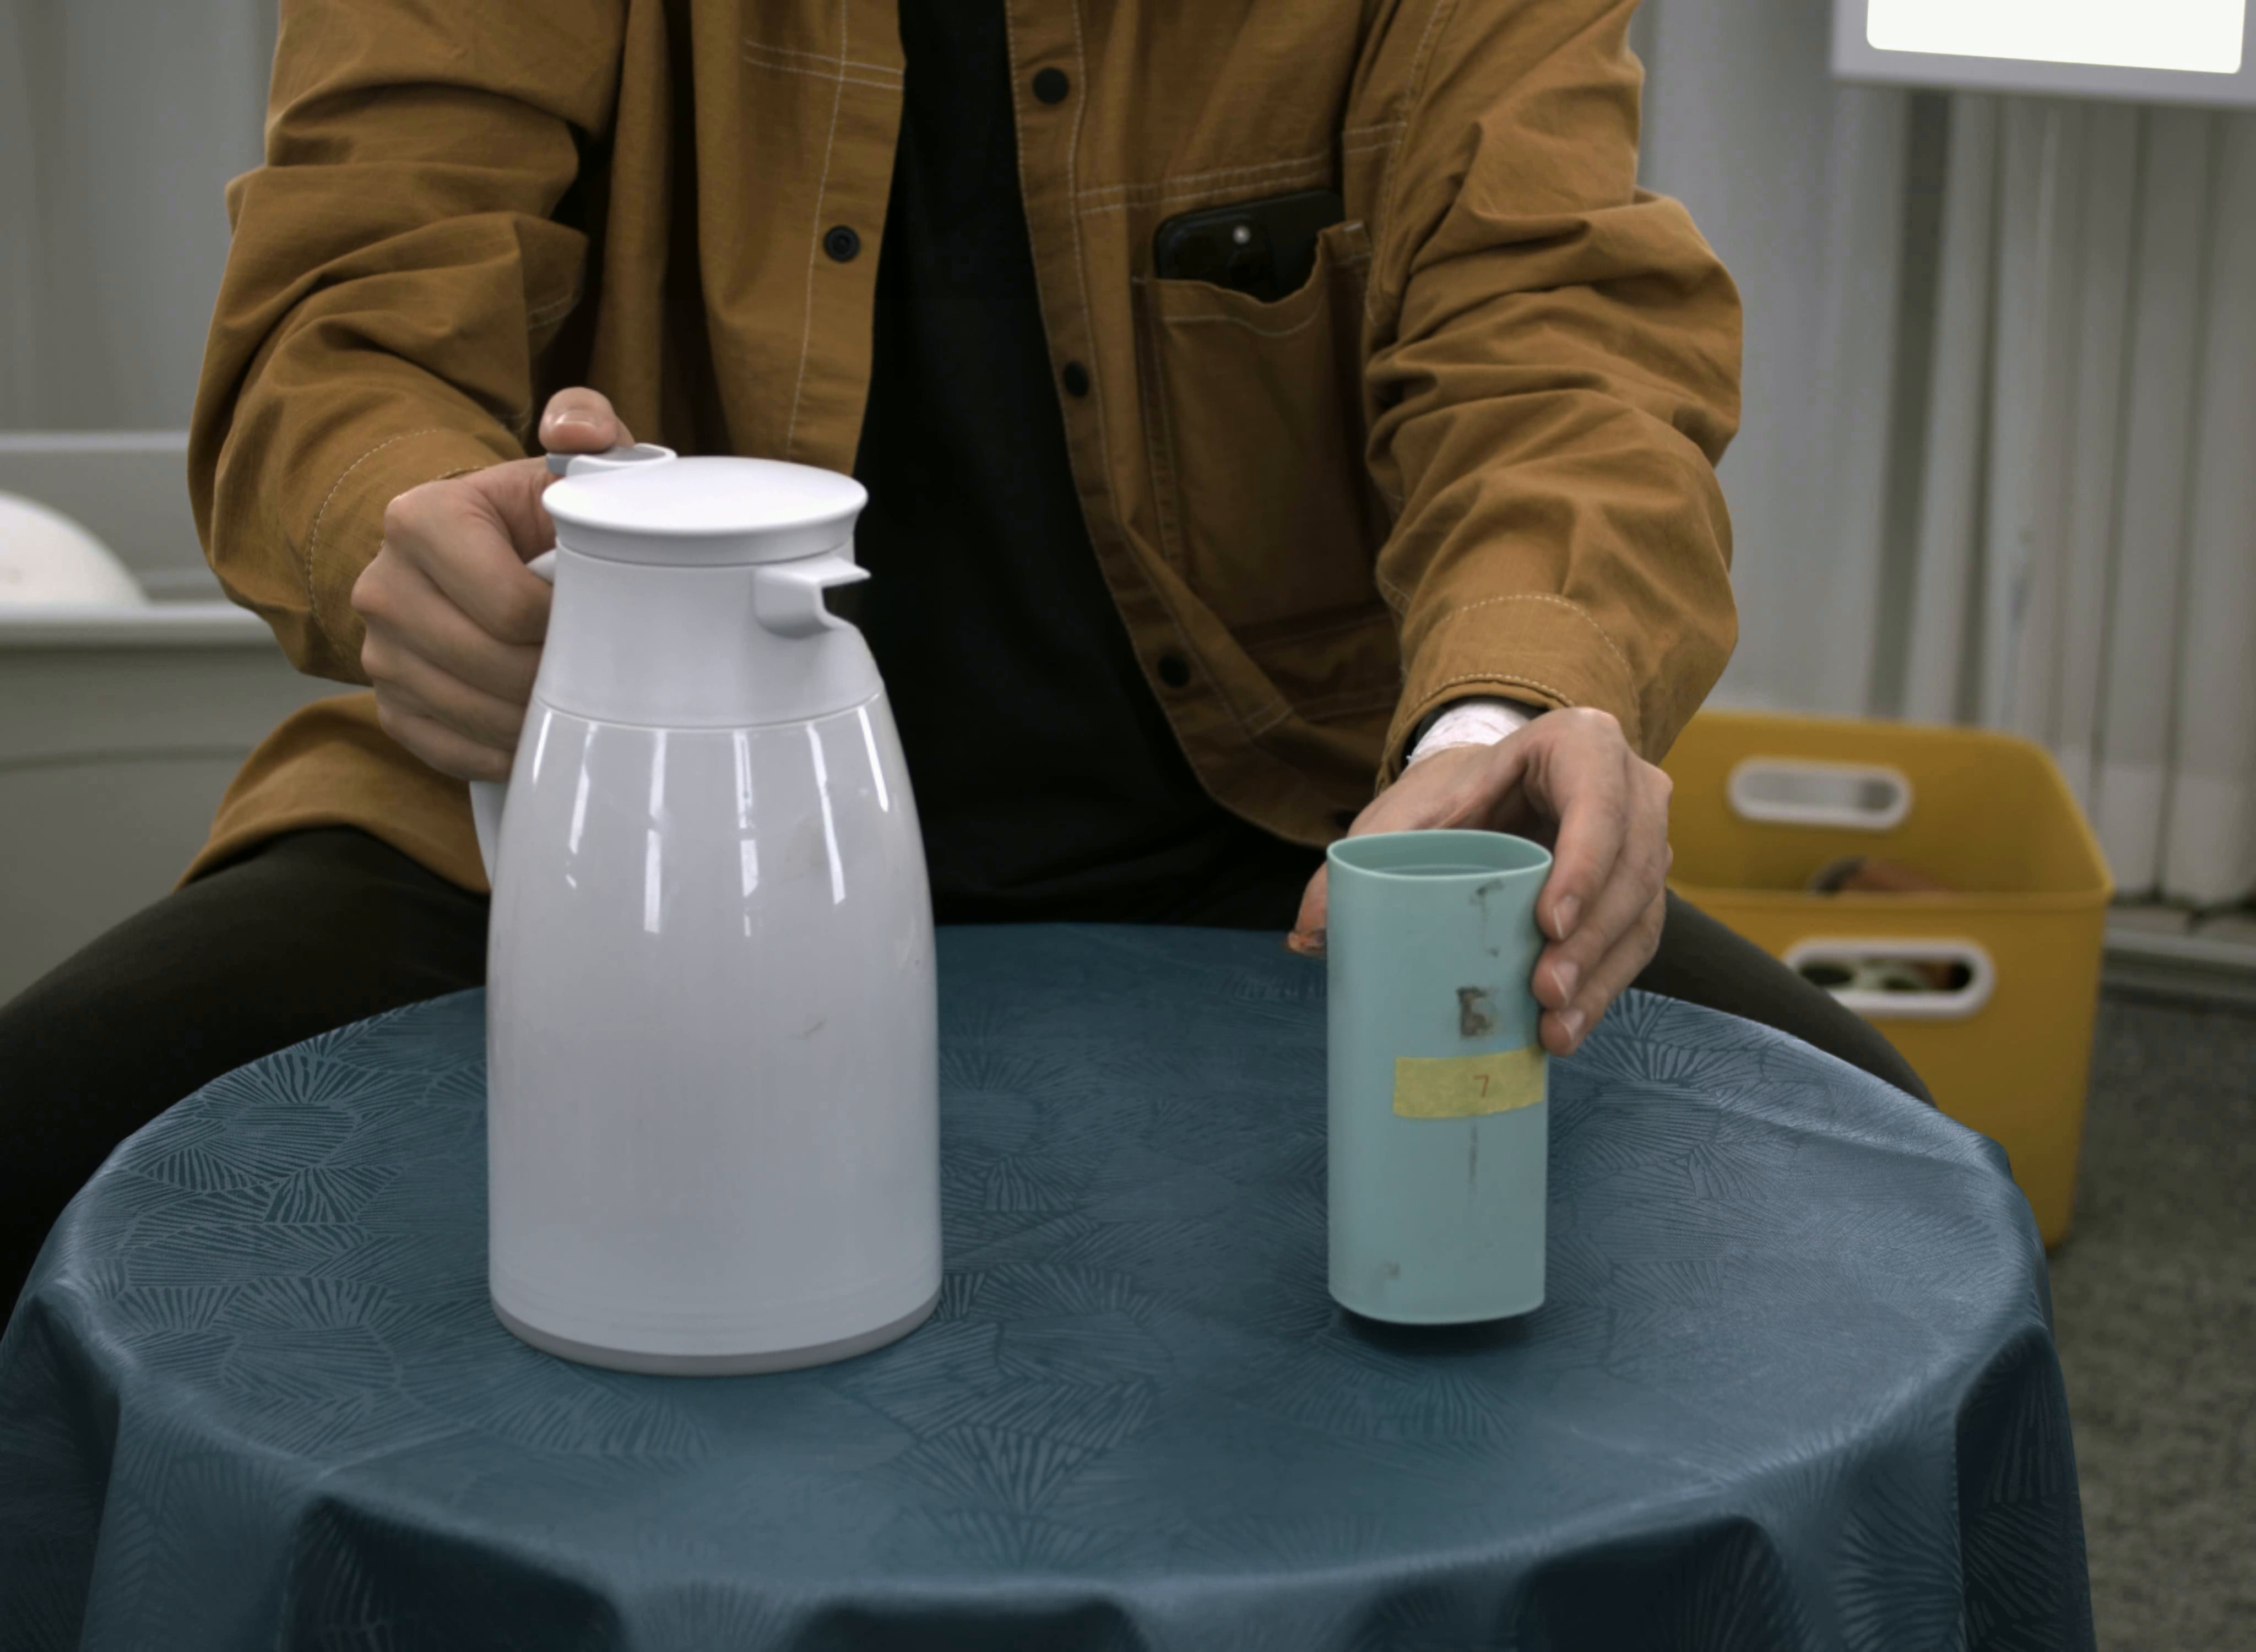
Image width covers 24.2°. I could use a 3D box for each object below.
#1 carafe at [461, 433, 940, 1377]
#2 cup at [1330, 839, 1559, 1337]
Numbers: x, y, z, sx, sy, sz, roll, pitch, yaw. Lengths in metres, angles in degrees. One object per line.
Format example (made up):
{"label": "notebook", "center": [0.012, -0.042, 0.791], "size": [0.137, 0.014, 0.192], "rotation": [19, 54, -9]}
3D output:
{"label": "carafe", "center": [-0.134, 0.014, 1.507], "size": [0.133, 0.250, 0.165], "rotation": [-15, 22, -42]}
{"label": "cup", "center": [0.089, 0.073, 1.501], "size": [0.066, 0.133, 0.066], "rotation": [1, 12, 0]}
